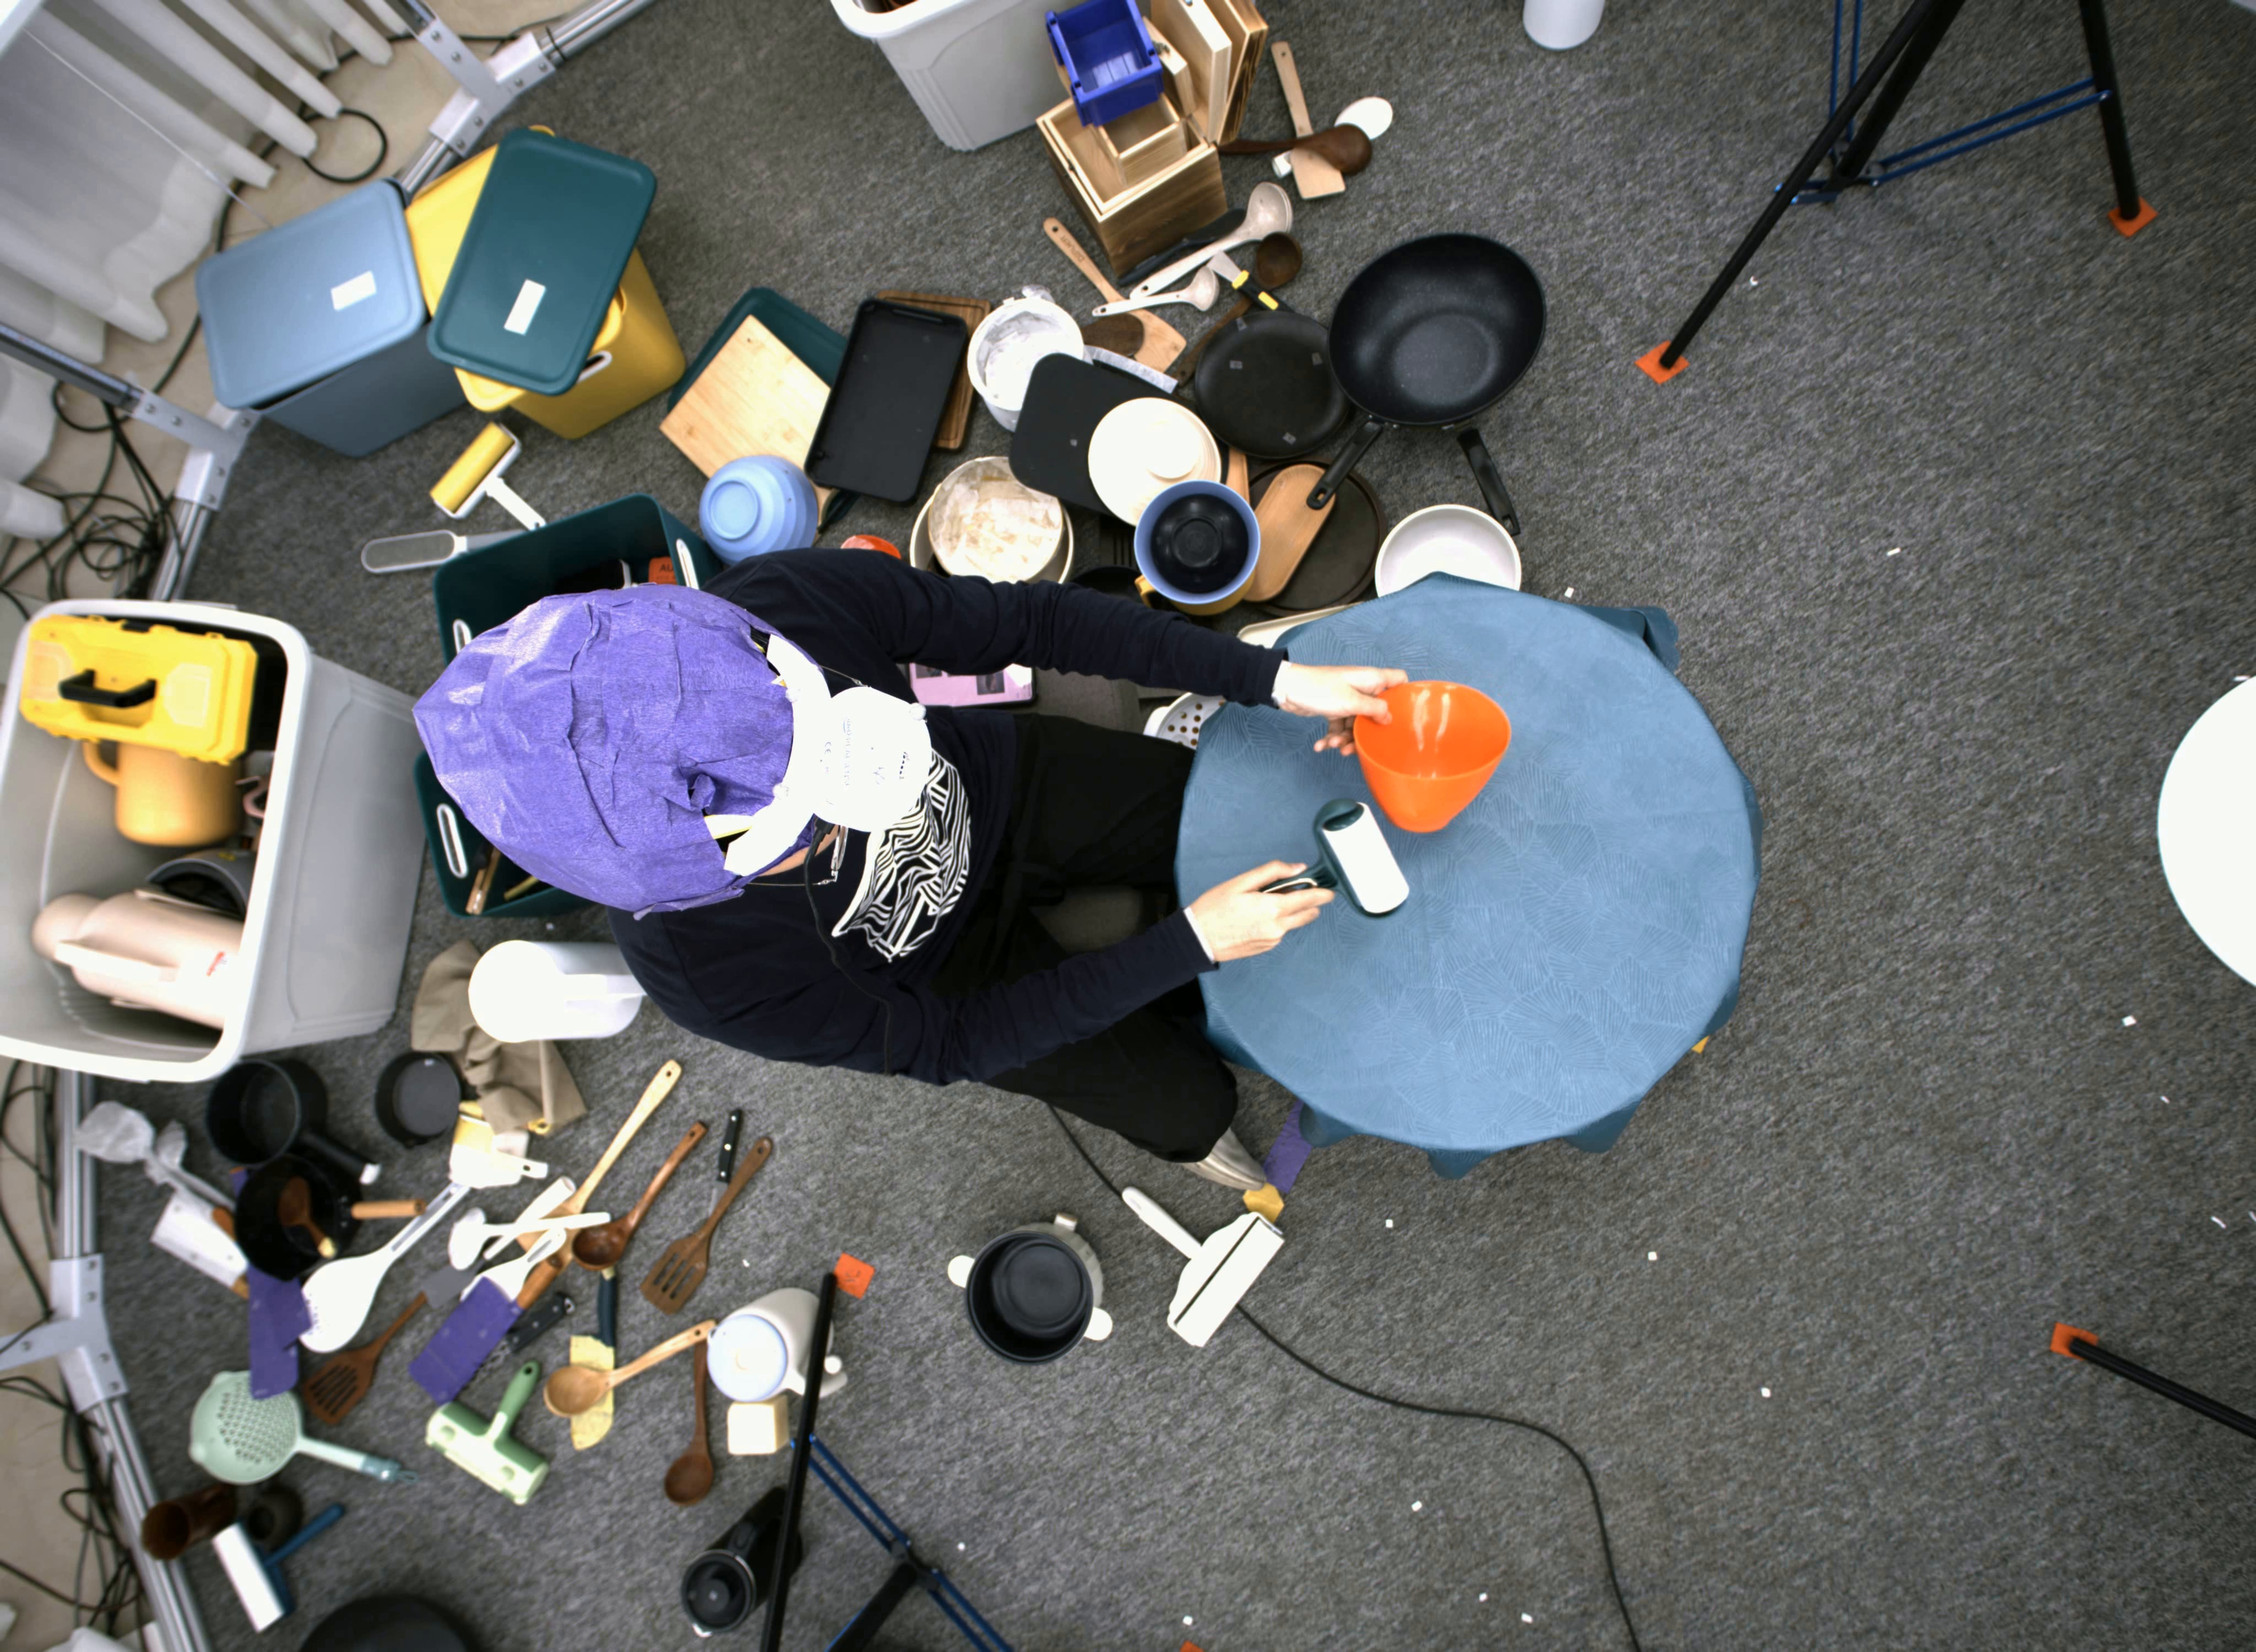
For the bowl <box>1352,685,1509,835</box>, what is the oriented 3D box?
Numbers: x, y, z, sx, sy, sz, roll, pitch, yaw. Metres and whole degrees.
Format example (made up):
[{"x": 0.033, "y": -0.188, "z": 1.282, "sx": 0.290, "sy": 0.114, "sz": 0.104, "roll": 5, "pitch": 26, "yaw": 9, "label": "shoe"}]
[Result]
[{"x": 0.290, "y": -0.059, "z": 1.335, "sx": 0.148, "sy": 0.144, "sz": 0.107, "roll": 3, "pitch": 125, "yaw": 10, "label": "bowl"}]

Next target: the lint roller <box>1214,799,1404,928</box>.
[{"x": 0.166, "y": 0.060, "z": 1.340, "sx": 0.181, "sy": 0.047, "sz": 0.136, "roll": -28, "pitch": 116, "yaw": 11, "label": "lint roller"}]
